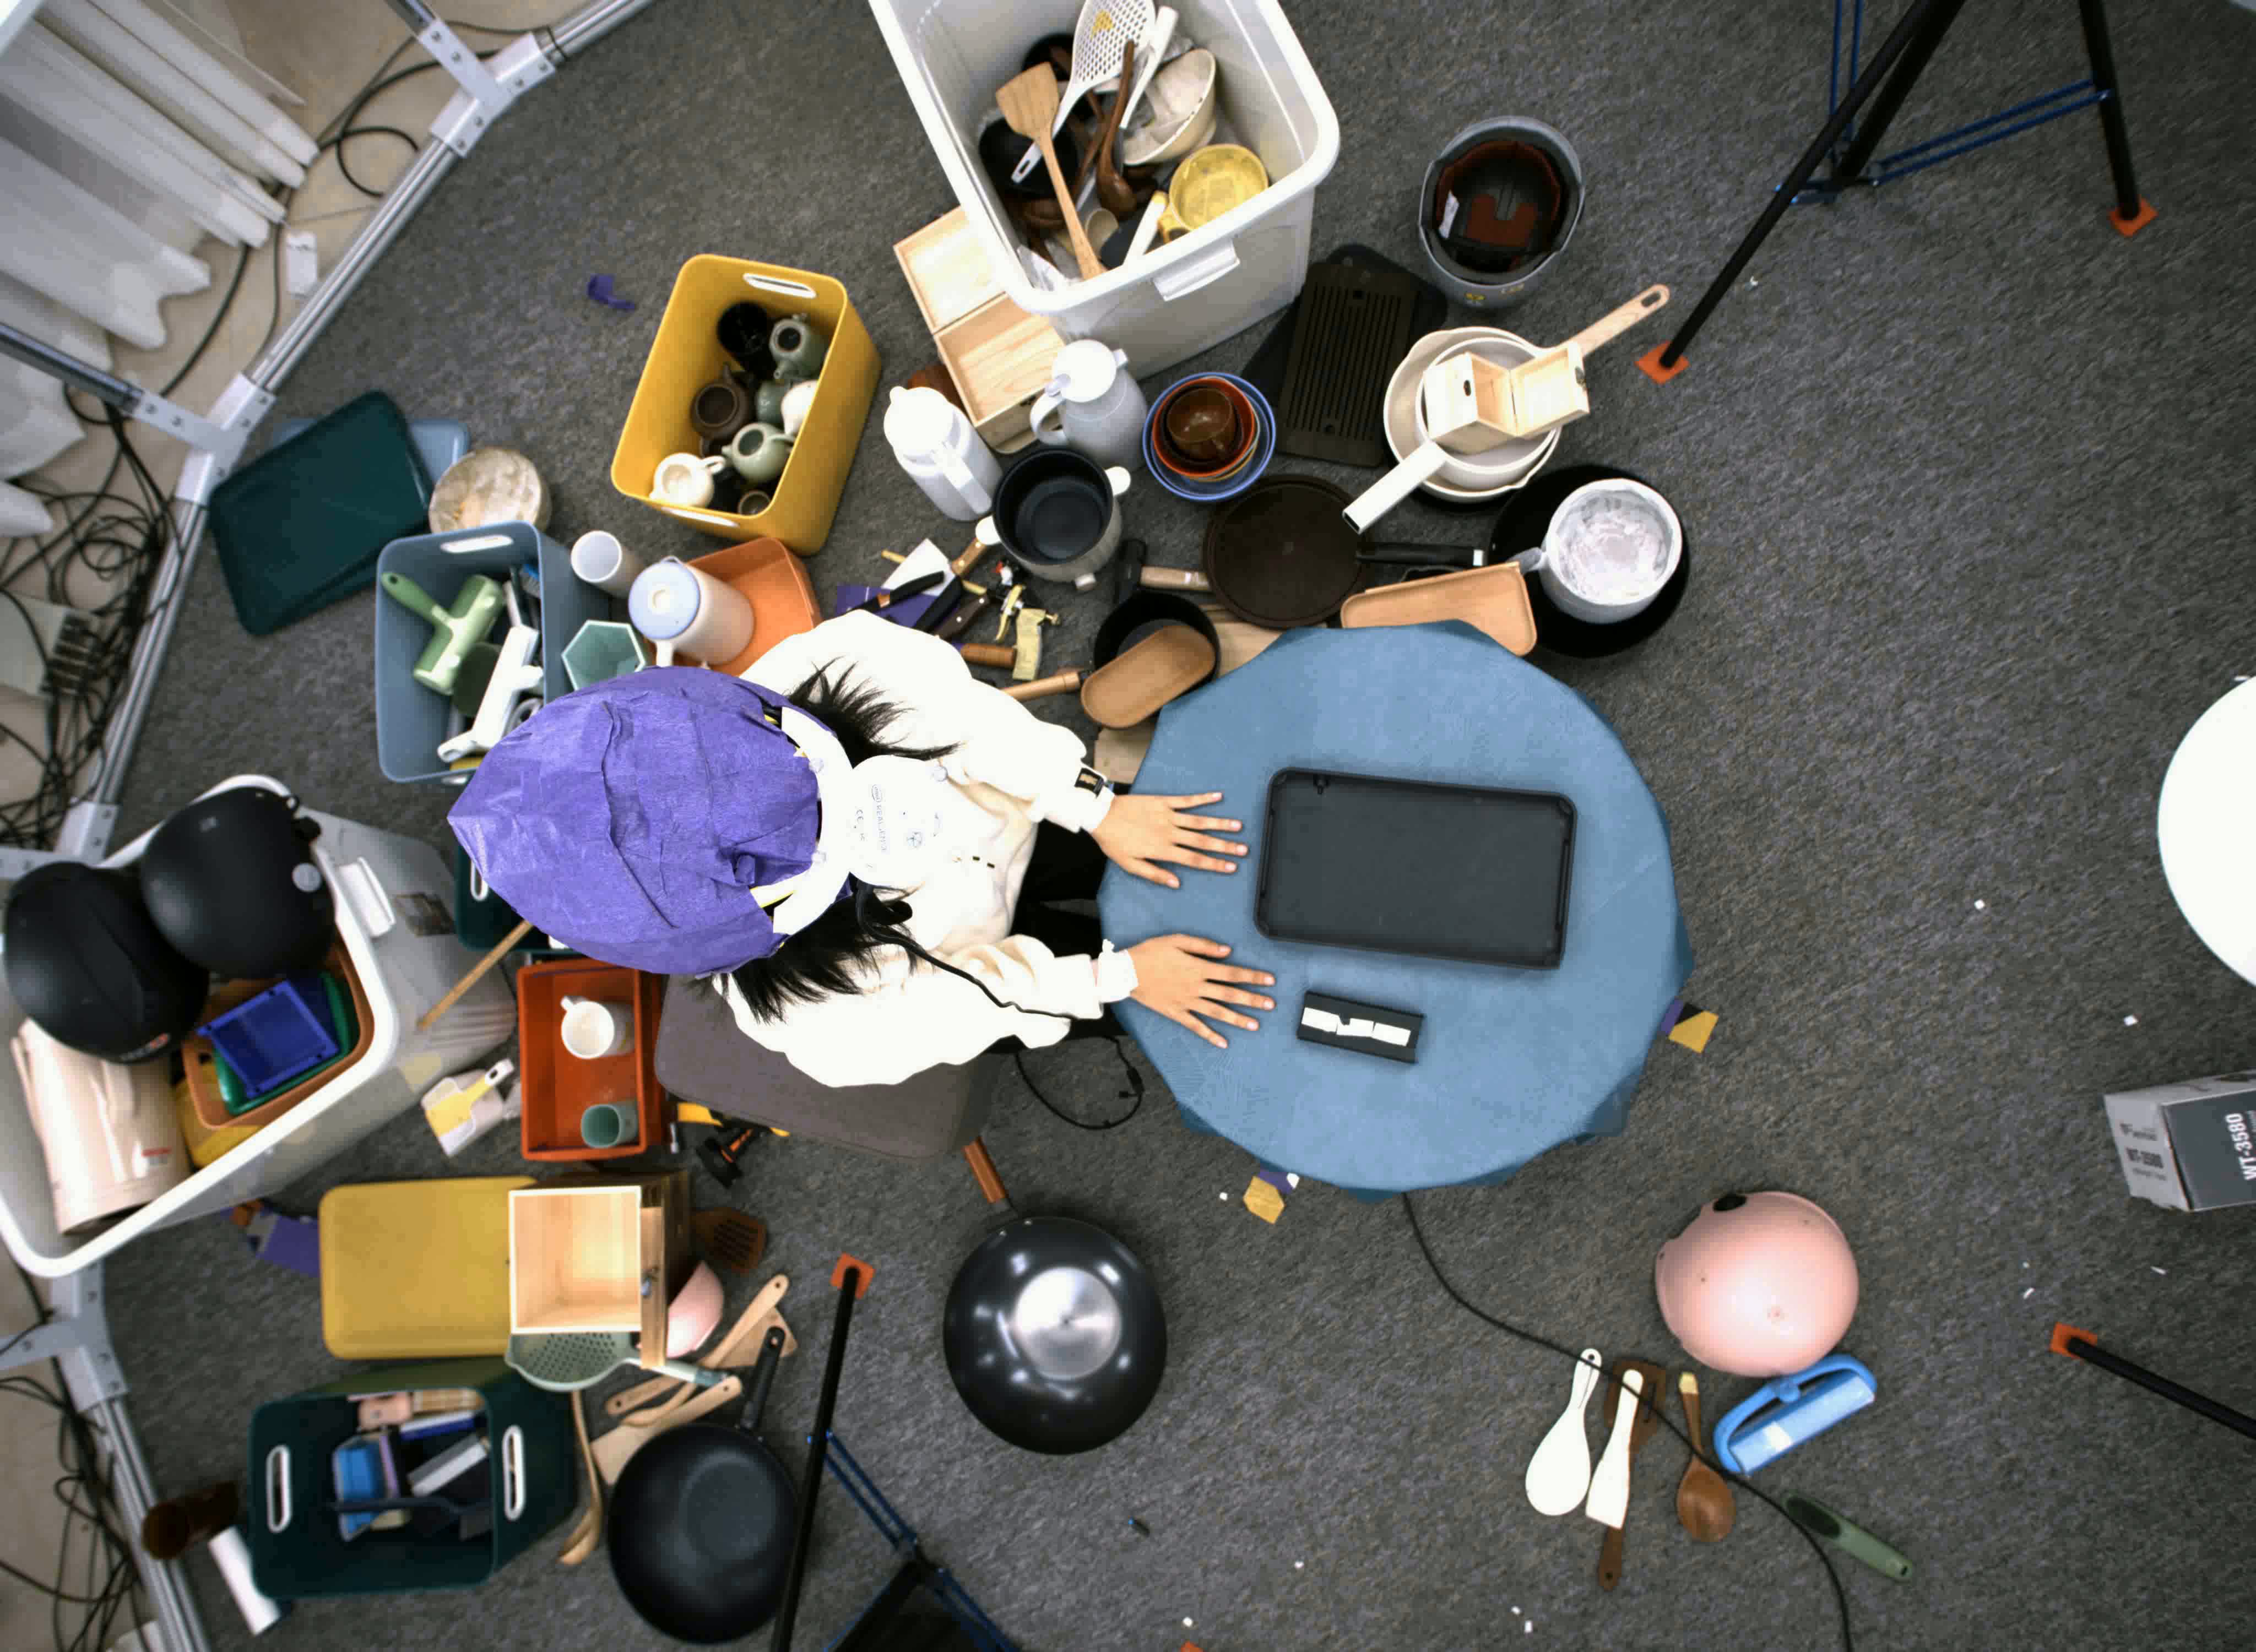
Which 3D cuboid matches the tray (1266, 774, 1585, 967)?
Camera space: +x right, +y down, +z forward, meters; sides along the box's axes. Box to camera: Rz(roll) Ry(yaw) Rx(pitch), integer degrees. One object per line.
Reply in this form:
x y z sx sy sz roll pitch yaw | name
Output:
0.307 0.044 1.436 0.319 0.037 0.183 3 87 10 | tray

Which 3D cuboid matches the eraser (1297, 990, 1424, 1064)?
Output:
0.243 0.208 1.444 0.126 0.030 0.053 11 84 11 | eraser
